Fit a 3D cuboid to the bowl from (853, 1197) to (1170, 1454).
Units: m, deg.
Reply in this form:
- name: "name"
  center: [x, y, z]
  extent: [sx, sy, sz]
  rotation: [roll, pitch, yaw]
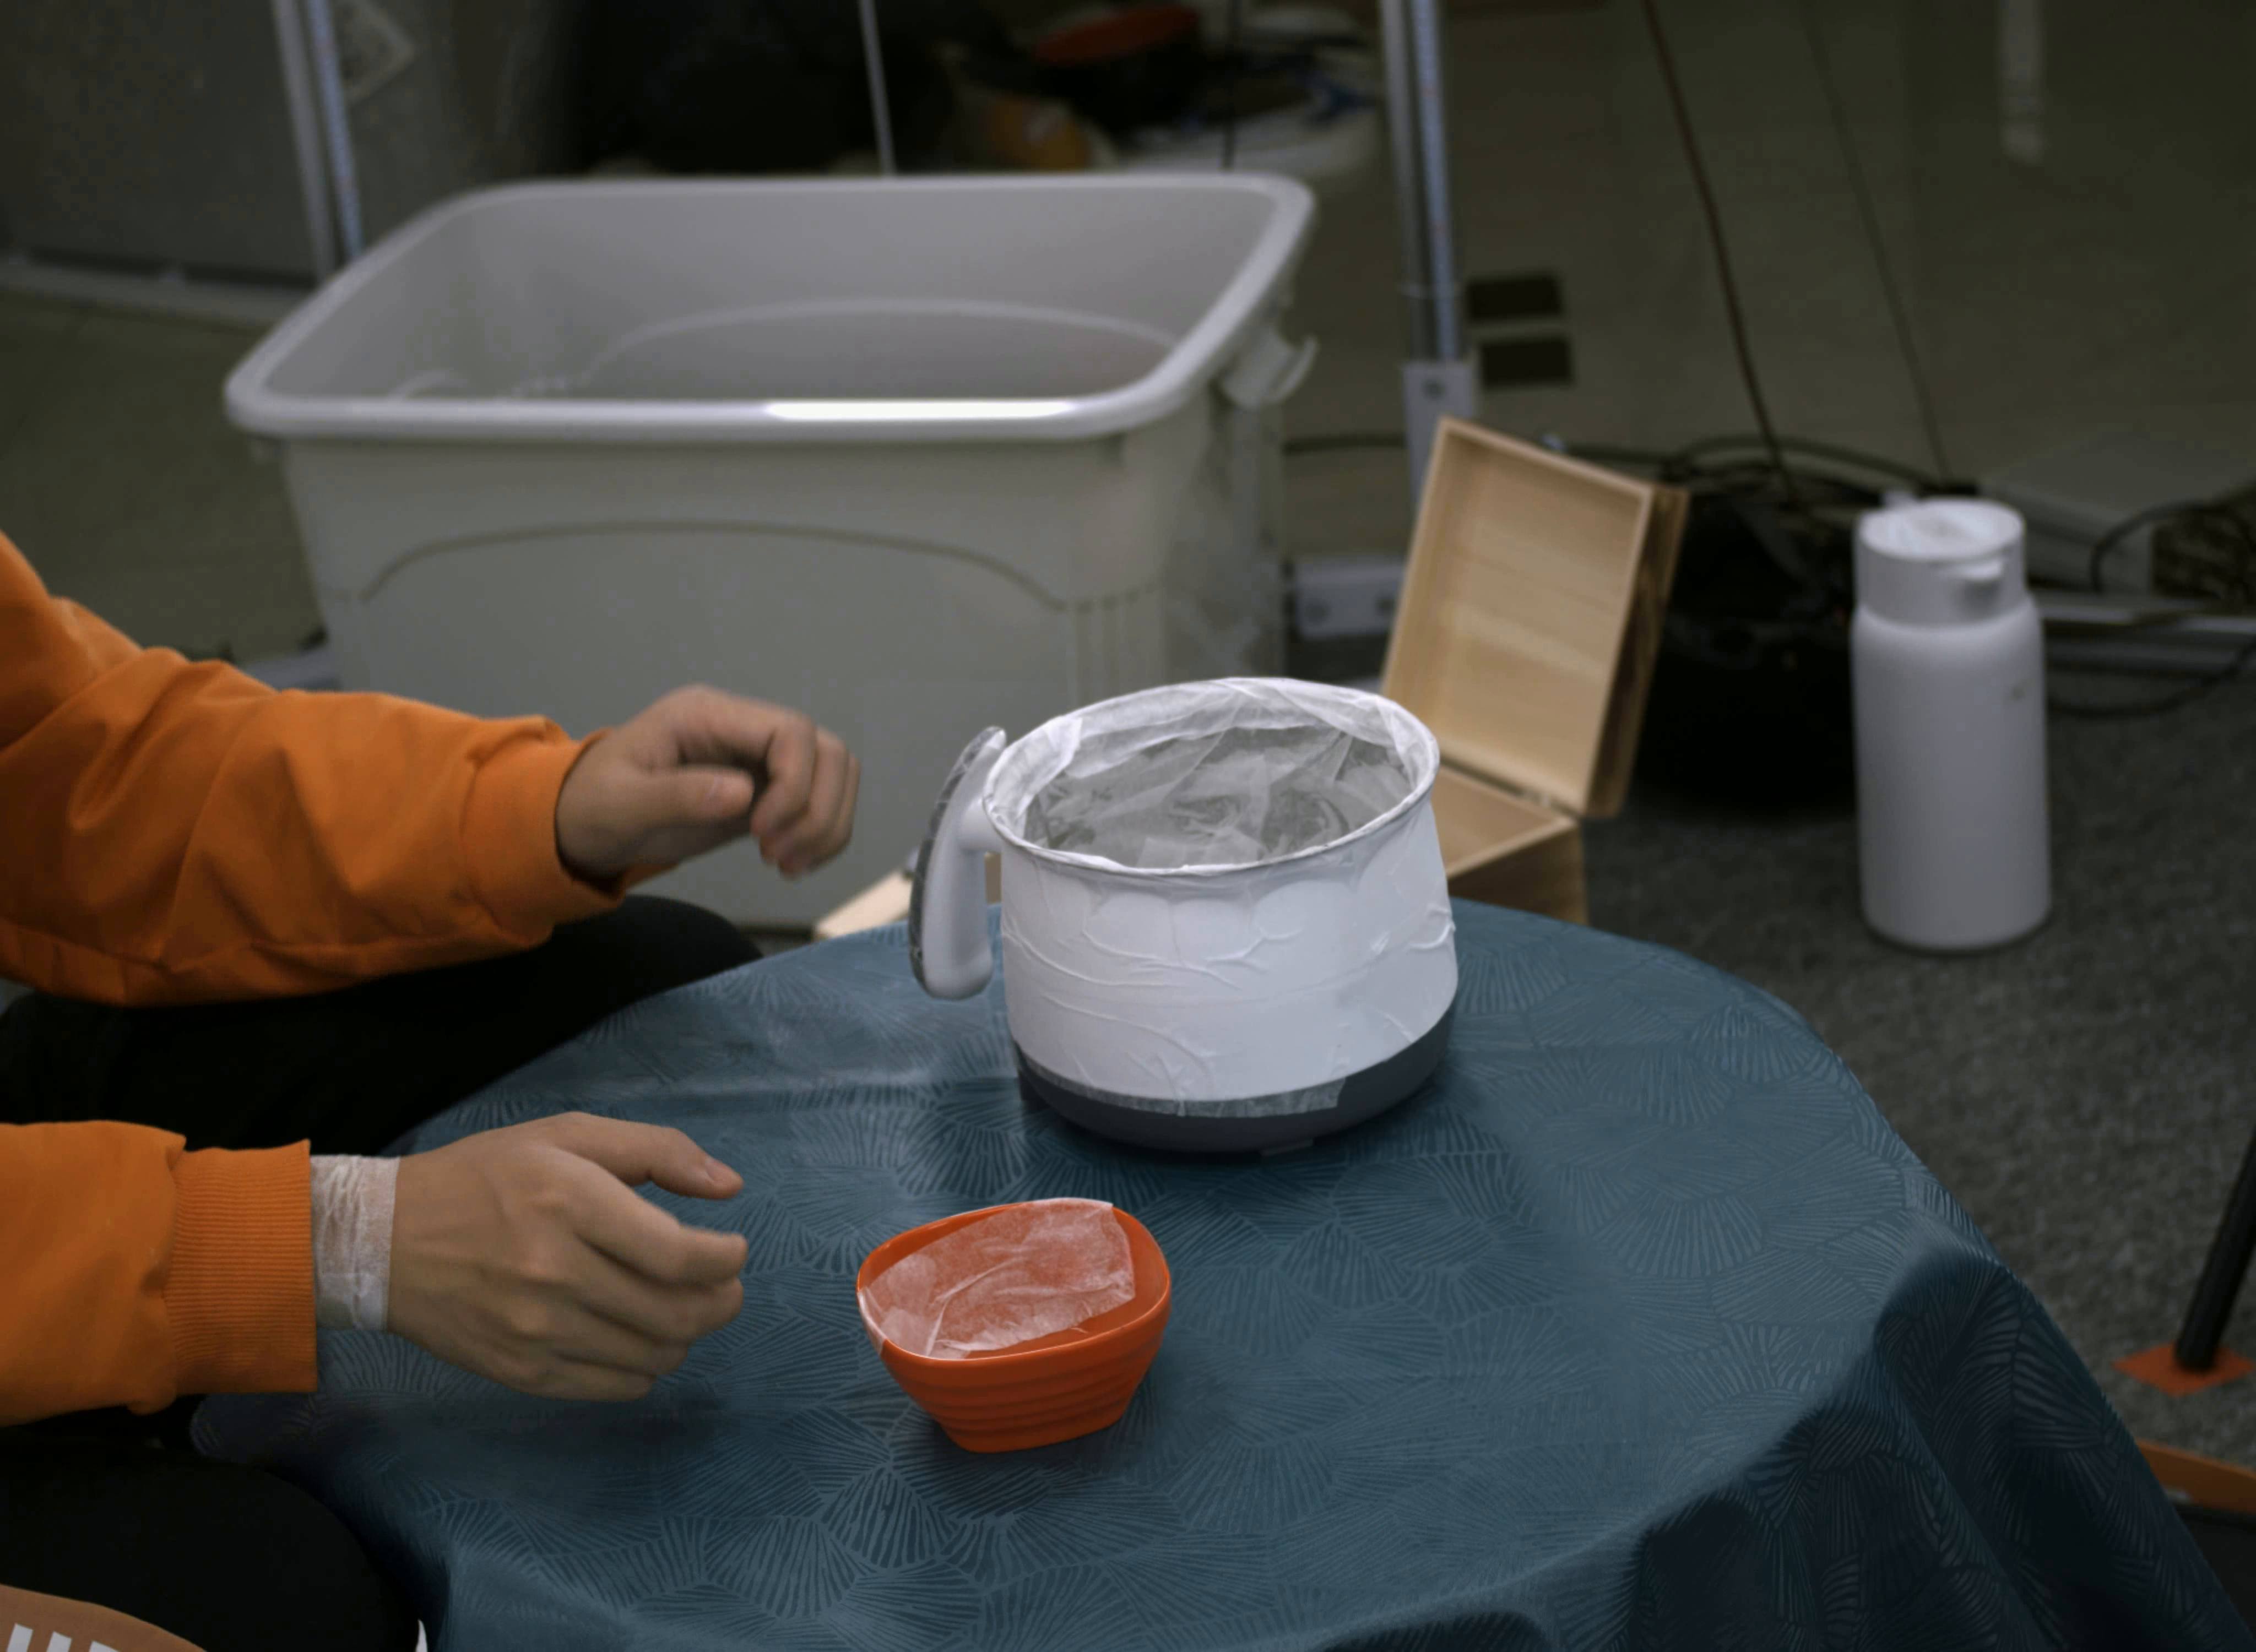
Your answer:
- name: "bowl"
  center: [-0.039, 0.181, 2.006]
  extent: [0.119, 0.052, 0.117]
  rotation: [-5, 26, 2]

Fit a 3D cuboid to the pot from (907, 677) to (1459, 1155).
- name: "pot"
  center: [0.014, 0.033, 2.206]
  extent: [0.232, 0.139, 0.176]
  rotation: [9, 29, 28]
